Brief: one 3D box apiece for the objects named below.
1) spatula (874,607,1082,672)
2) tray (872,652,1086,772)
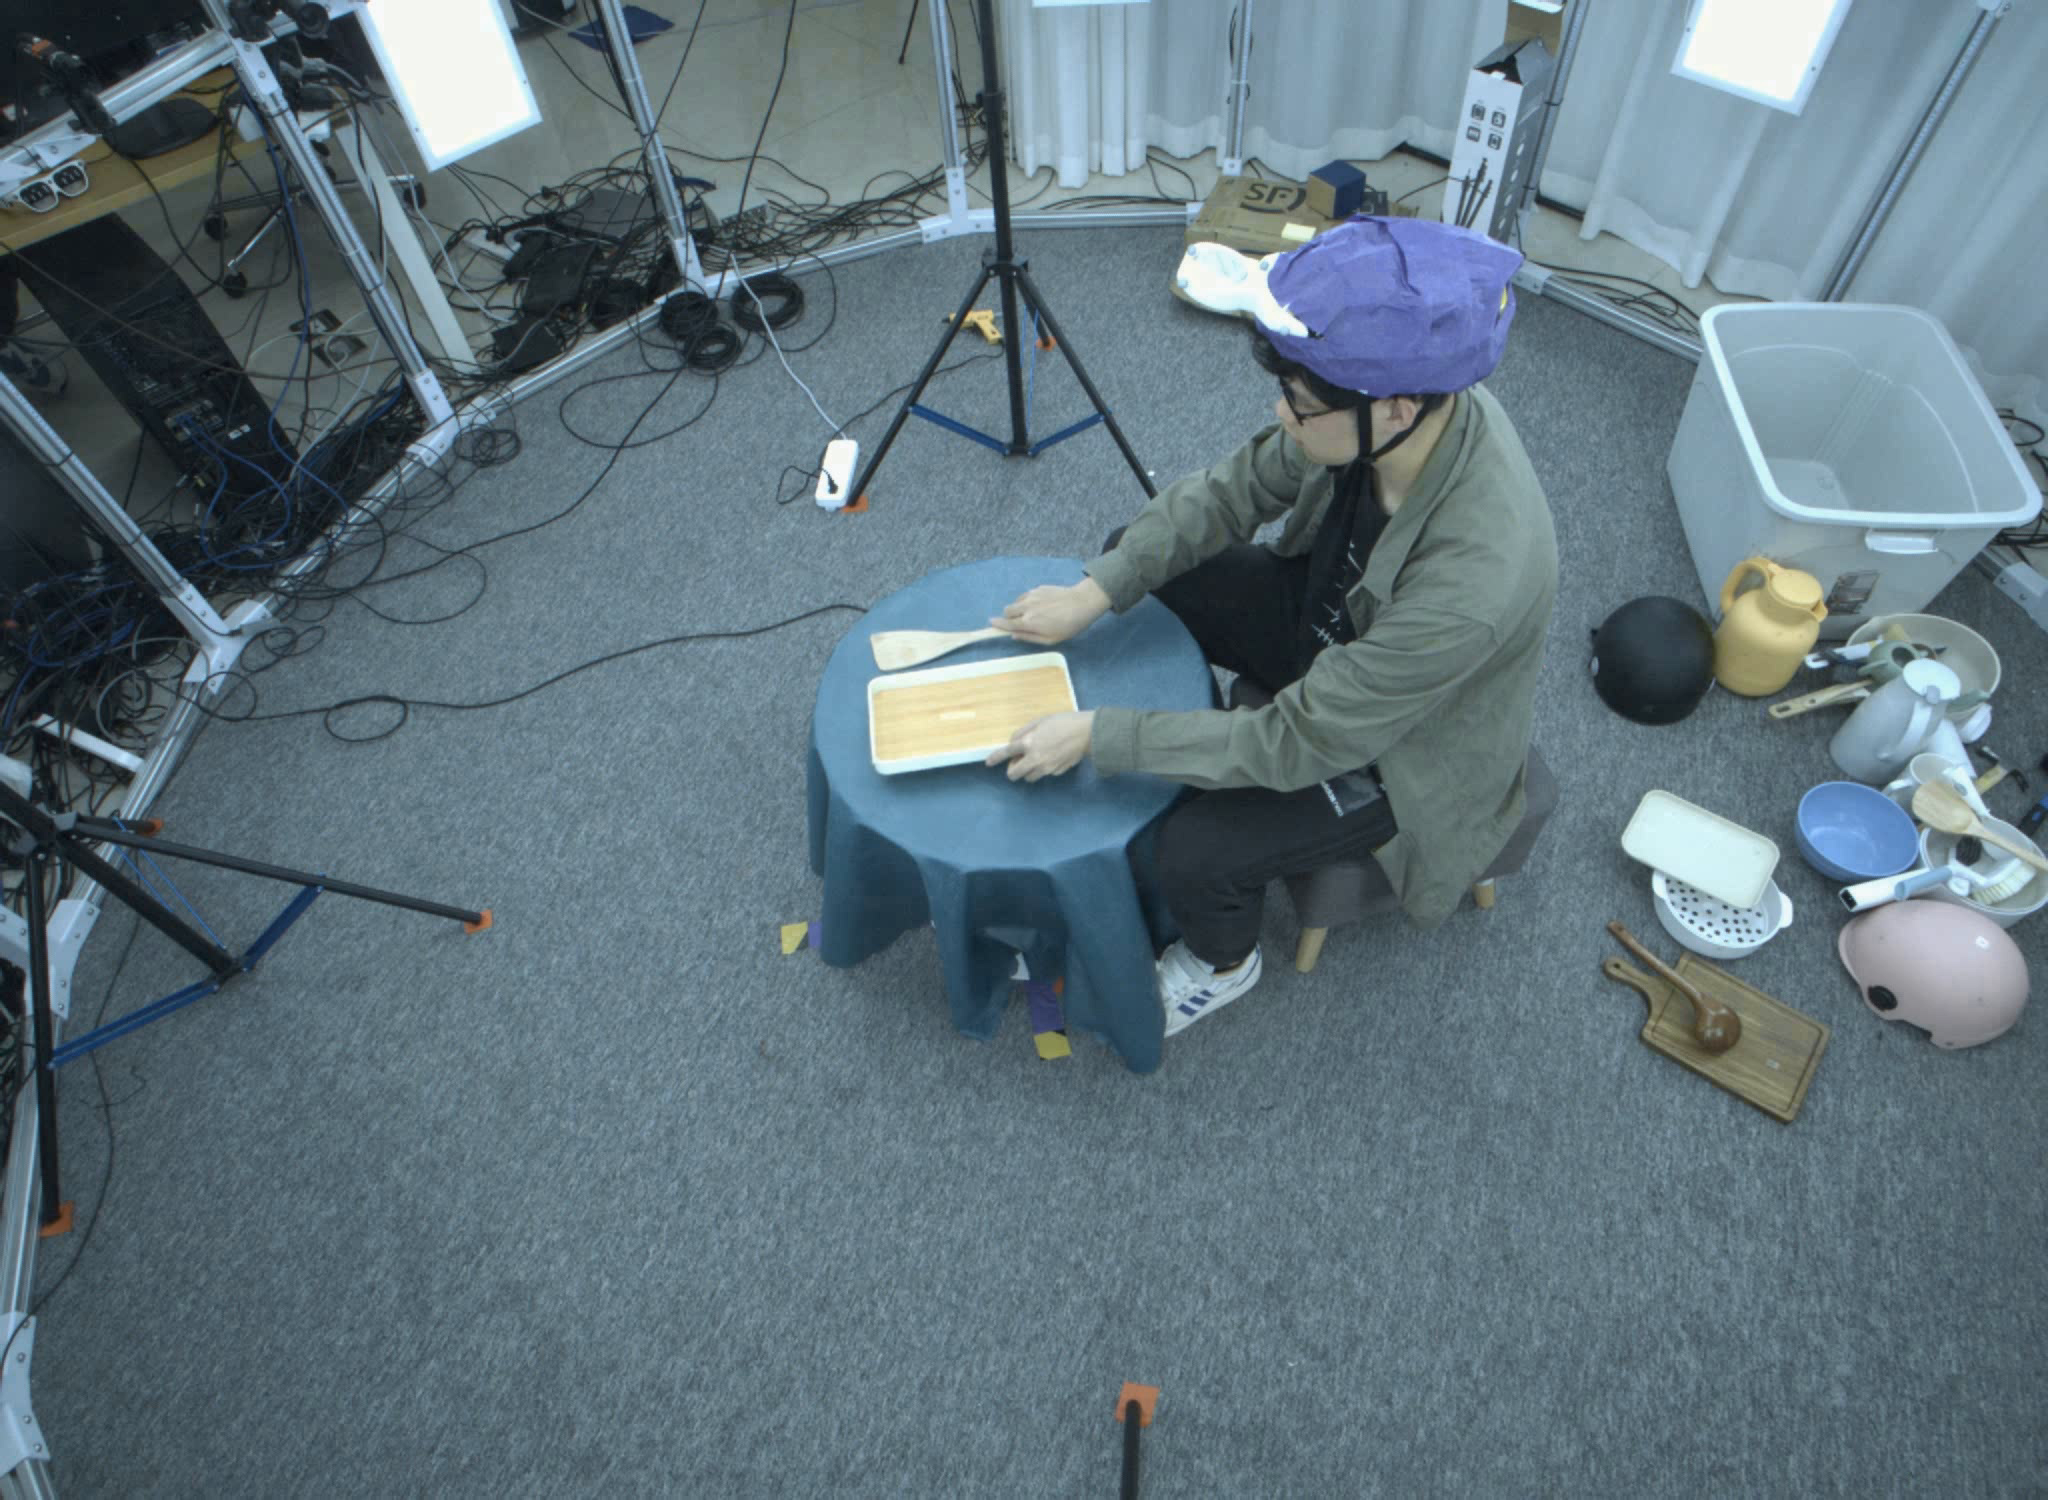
[{"bbox_3d":[-0.072,-0.180,1.896,0.327,0.017,0.079,-12,55,4],"label":"spatula"},{"bbox_3d":[-0.069,-0.058,1.799,0.301,0.028,0.189,-7,45,-5],"label":"tray"}]
